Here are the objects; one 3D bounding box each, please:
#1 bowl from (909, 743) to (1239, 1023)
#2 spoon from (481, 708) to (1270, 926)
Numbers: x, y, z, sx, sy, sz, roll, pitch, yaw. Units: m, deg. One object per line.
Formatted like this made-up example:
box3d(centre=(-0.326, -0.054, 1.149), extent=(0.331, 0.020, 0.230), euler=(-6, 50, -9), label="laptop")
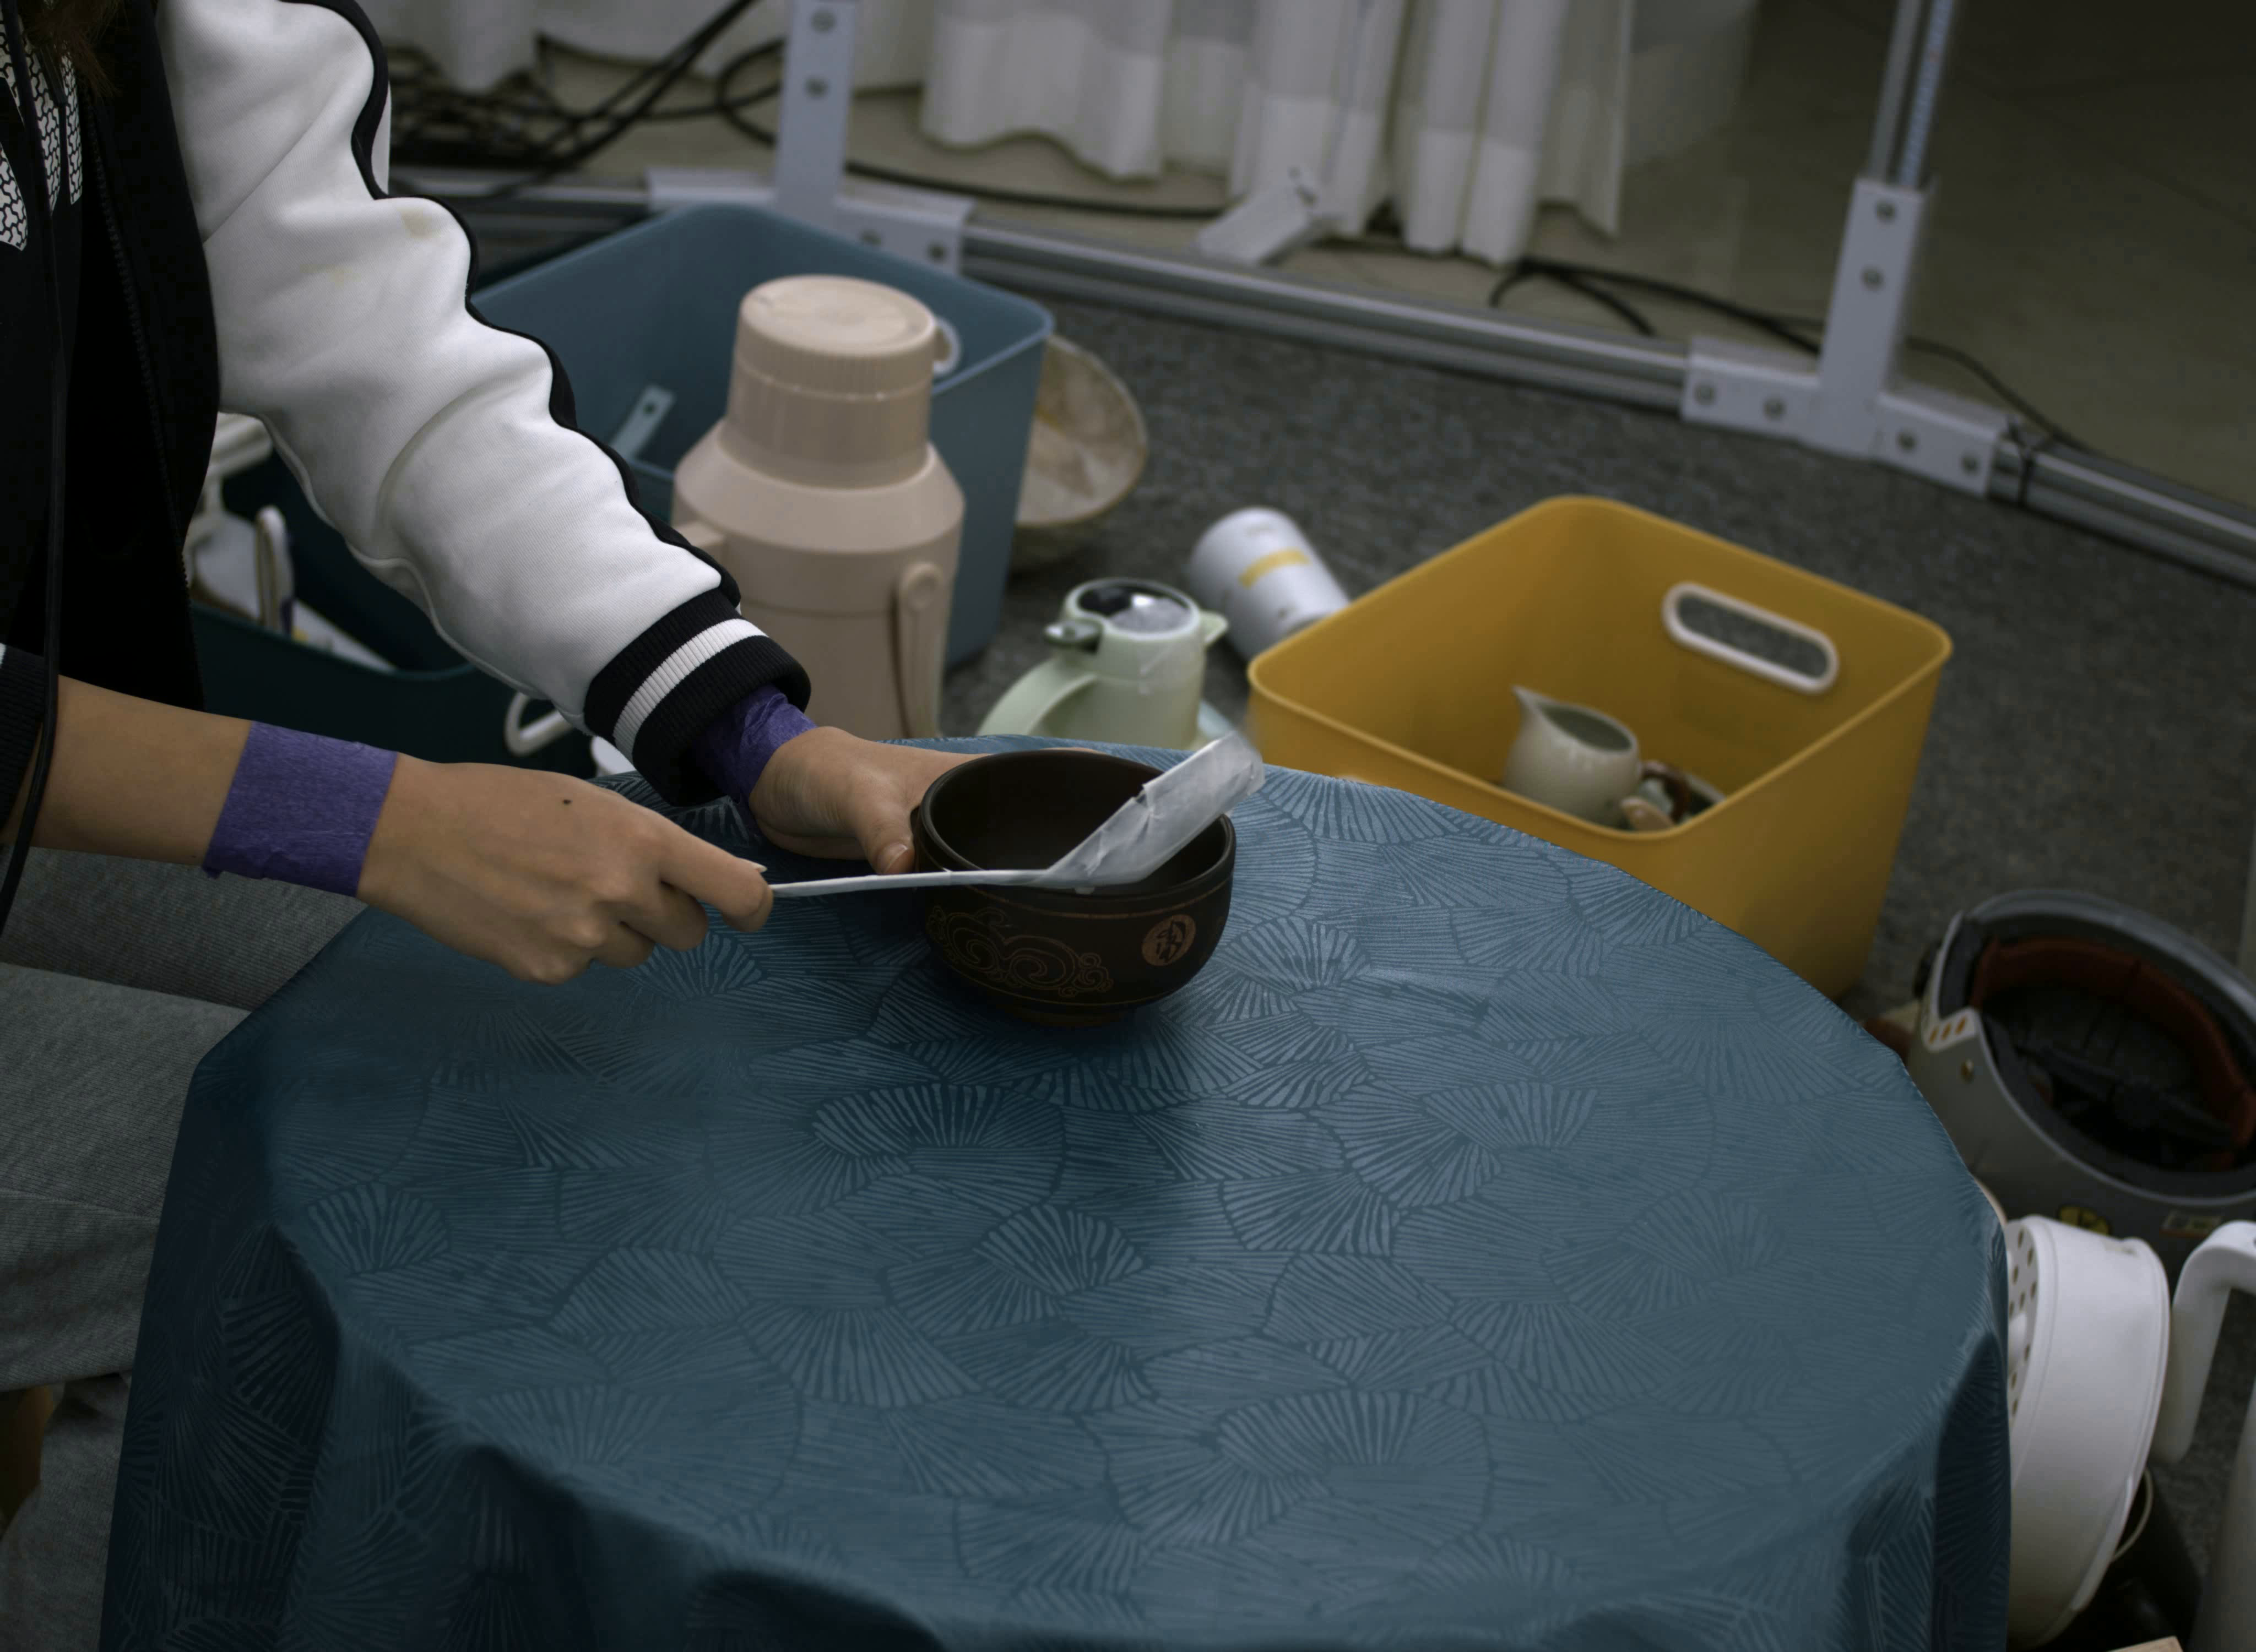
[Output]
box3d(centre=(-0.021, 0.027, 1.907), extent=(0.117, 0.069, 0.119), euler=(6, 27, -3), label="bowl")
box3d(centre=(-0.087, -0.001, 1.850), extent=(0.276, 0.060, 0.100), euler=(-3, -16, 0), label="spoon")
